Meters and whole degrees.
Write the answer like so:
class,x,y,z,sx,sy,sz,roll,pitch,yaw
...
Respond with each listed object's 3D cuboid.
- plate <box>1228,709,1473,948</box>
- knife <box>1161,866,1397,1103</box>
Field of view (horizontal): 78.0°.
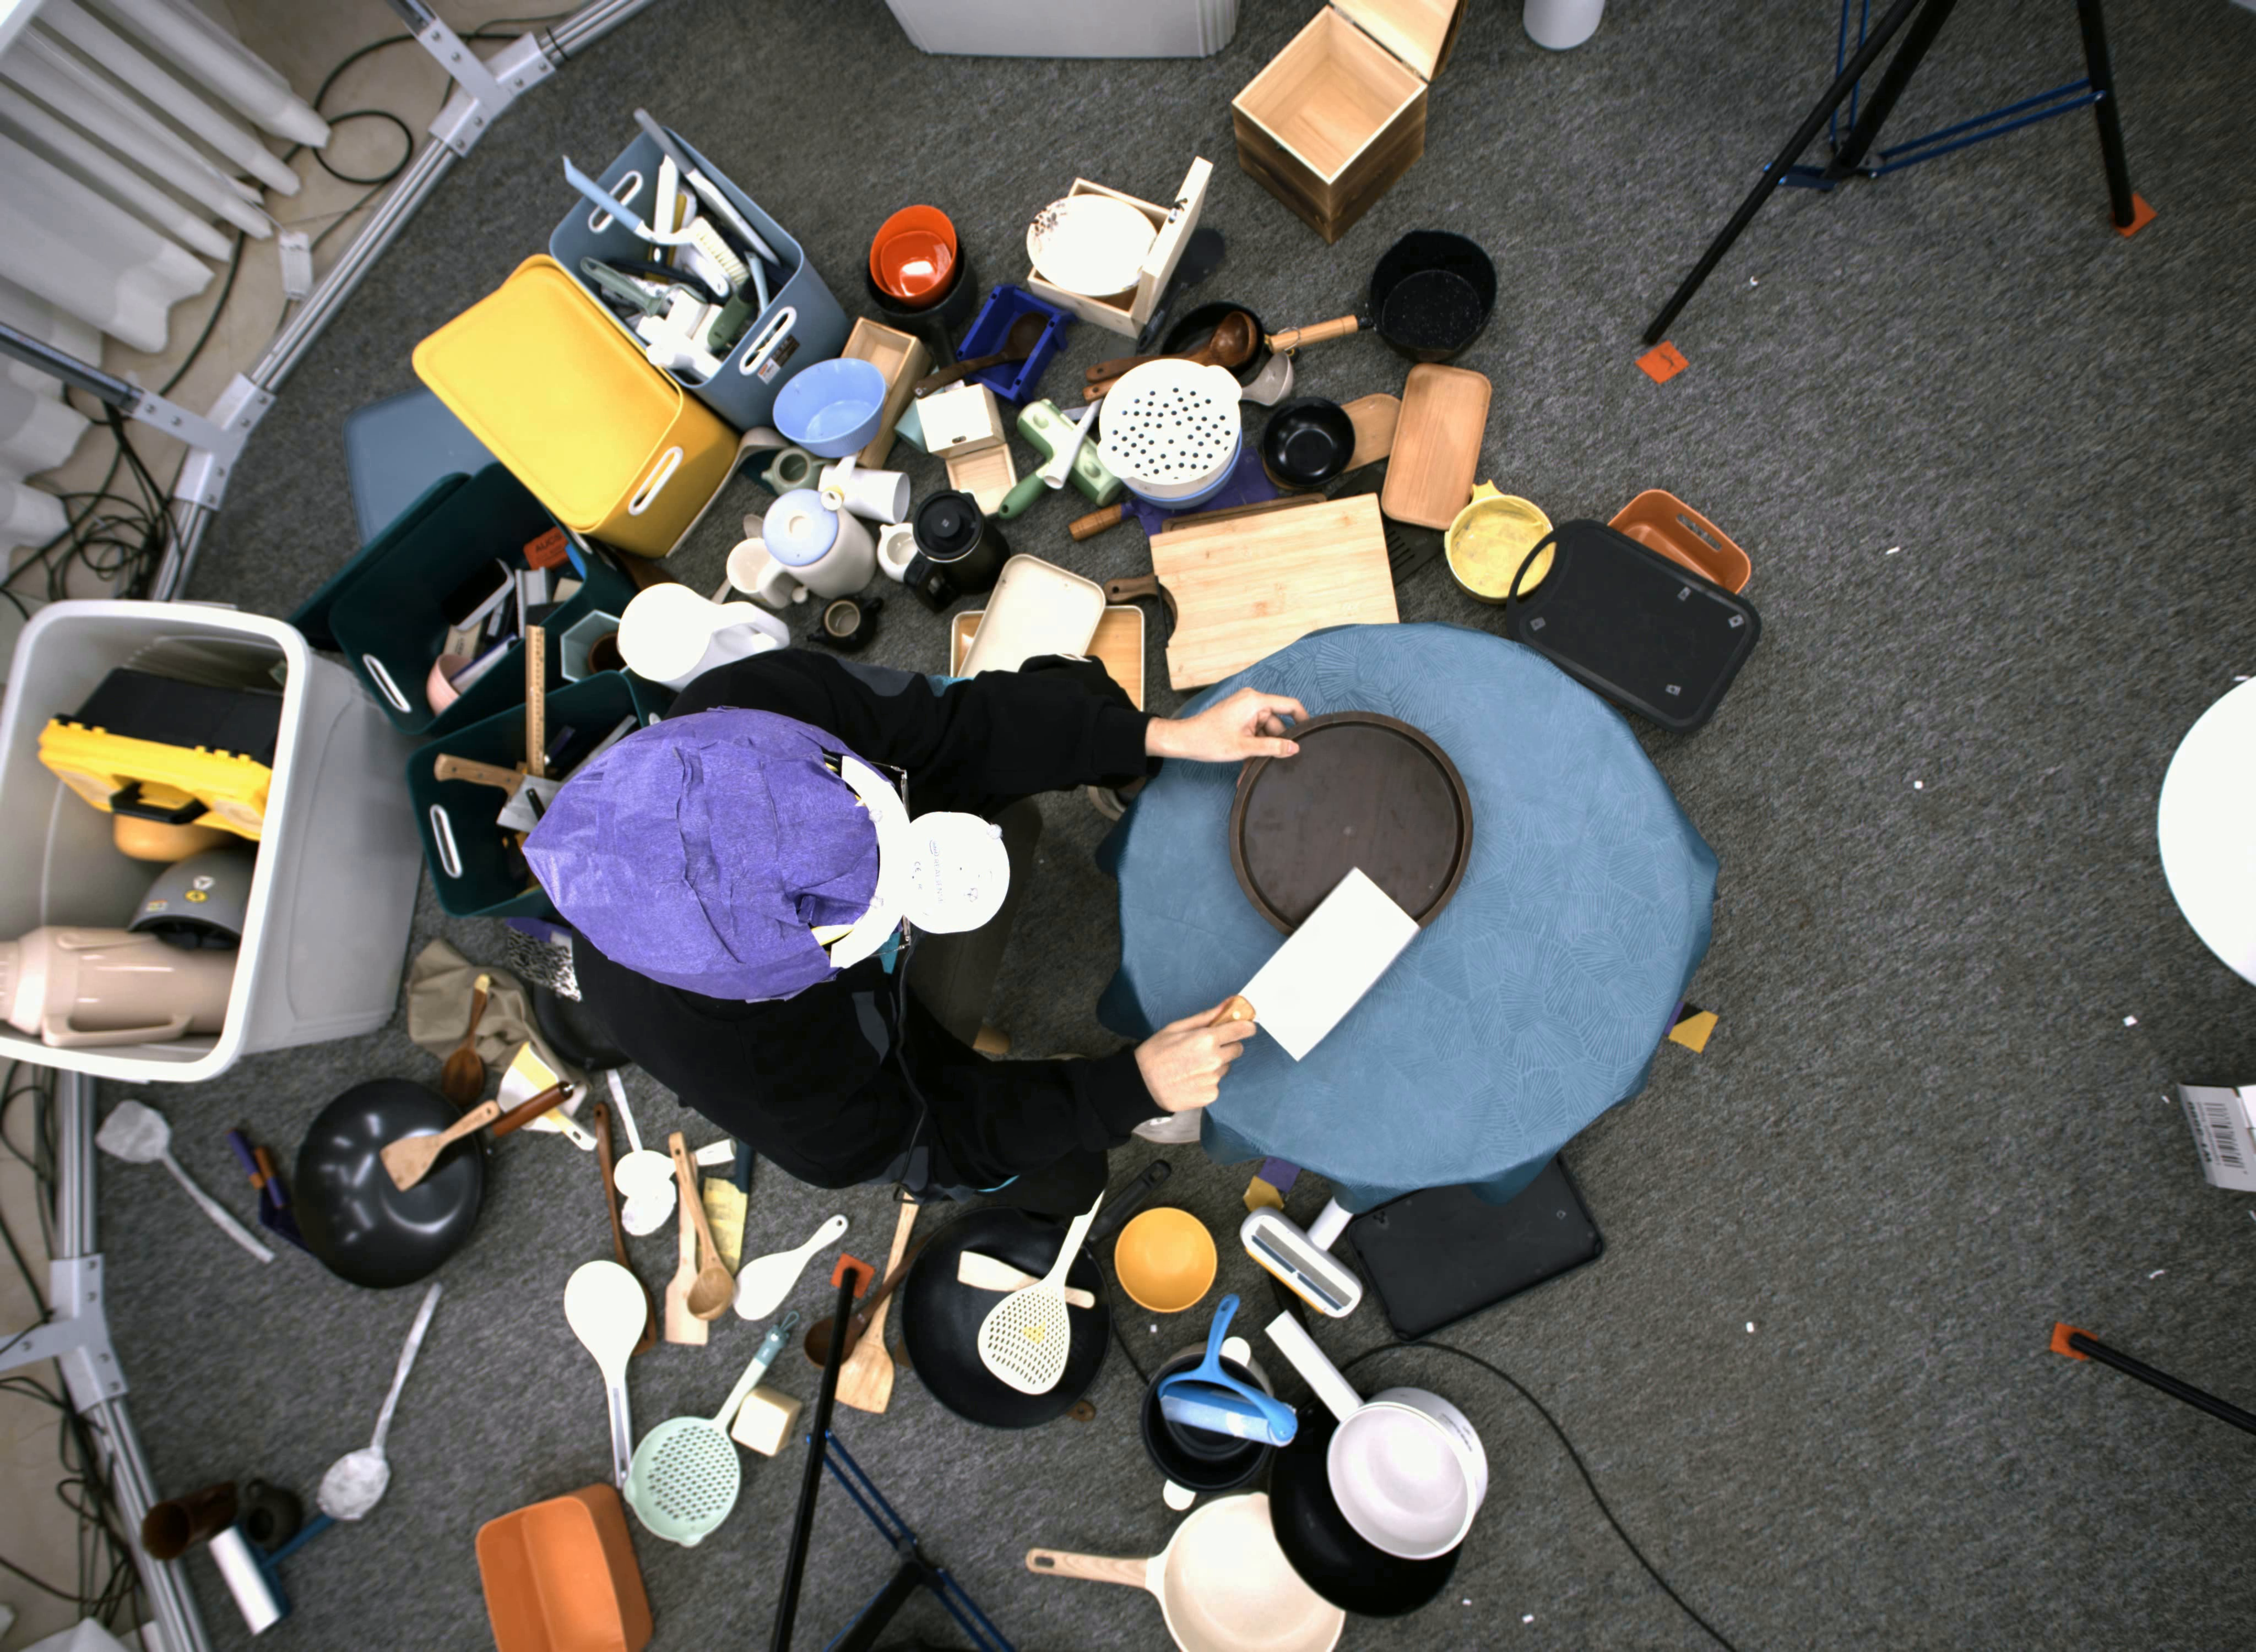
class,x,y,z,sx,sy,sz,roll,pitch,yaw
plate,0.229,0.004,1.426,0.255,0.029,0.256,0,100,1
knife,0.162,0.176,1.416,0.093,0.021,0.304,43,83,-2
